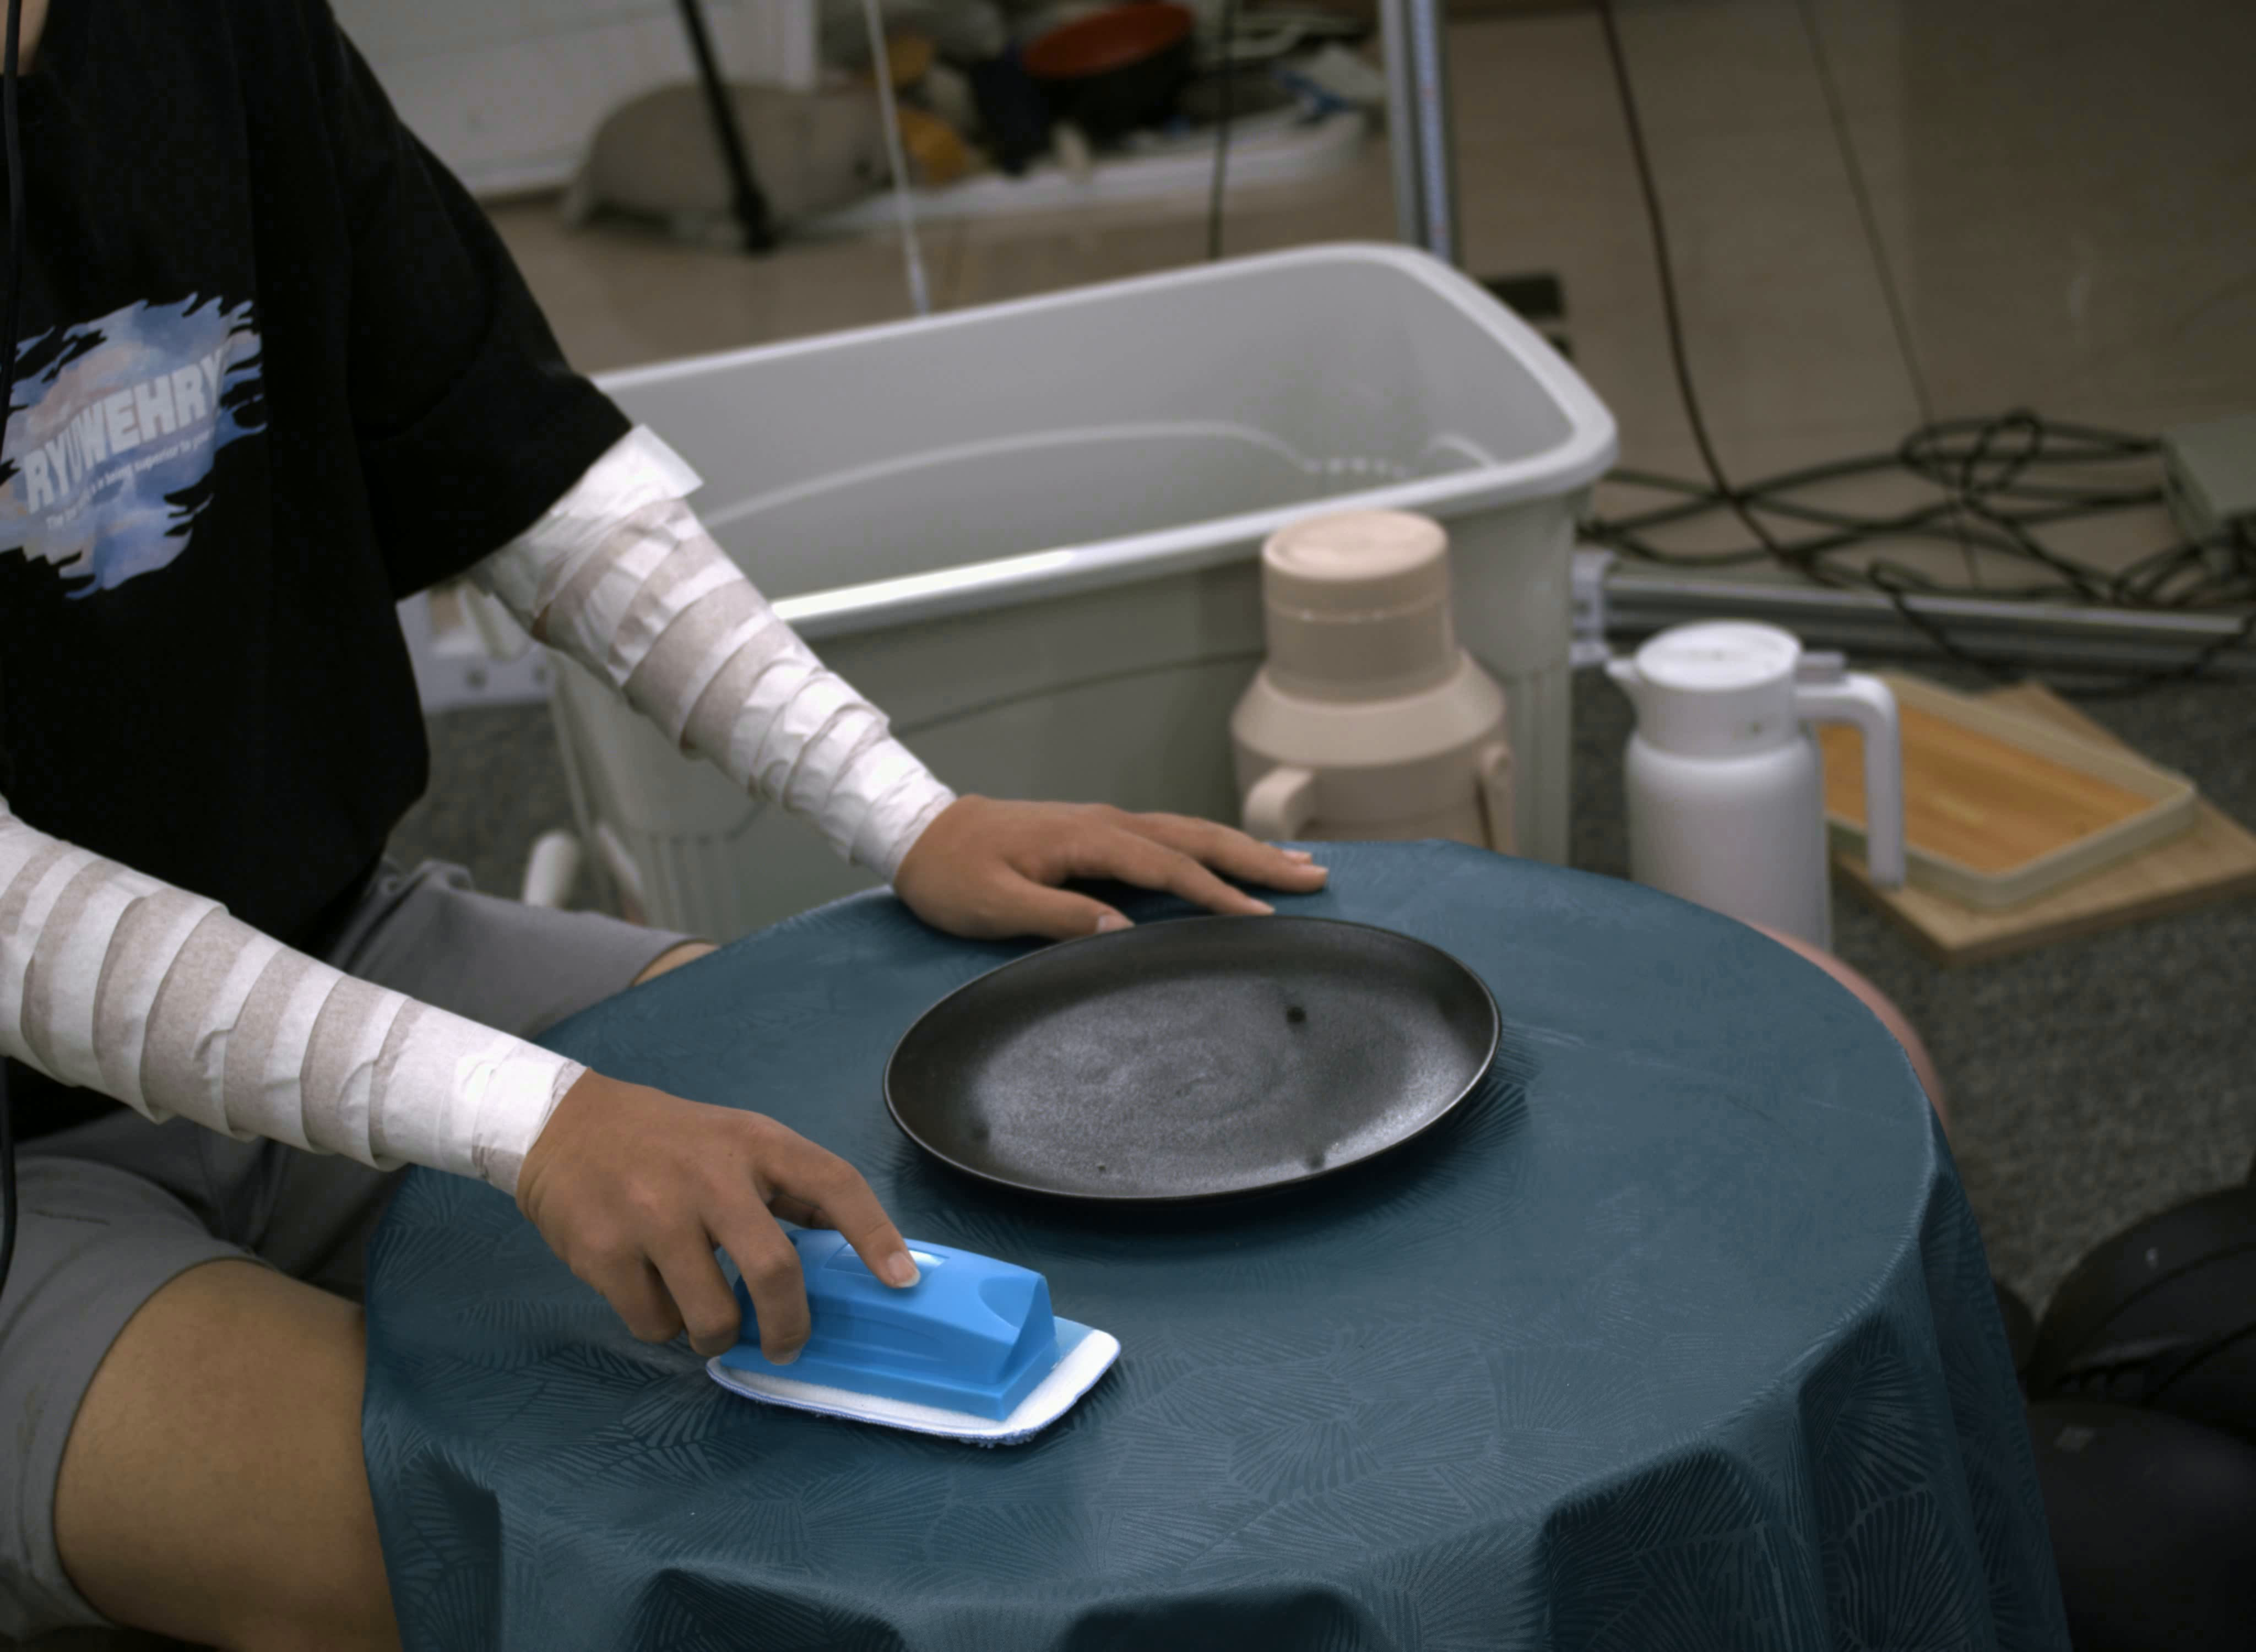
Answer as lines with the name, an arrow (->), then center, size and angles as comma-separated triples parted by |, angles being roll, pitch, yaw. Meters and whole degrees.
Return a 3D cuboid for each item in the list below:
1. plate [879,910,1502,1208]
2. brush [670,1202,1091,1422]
plate -> 0.025, 0.096, 2.206 | 0.244, 0.024, 0.241 | -5, 25, 3
brush -> -0.088, 0.171, 2.024 | 0.143, 0.057, 0.083 | 11, 26, 27
